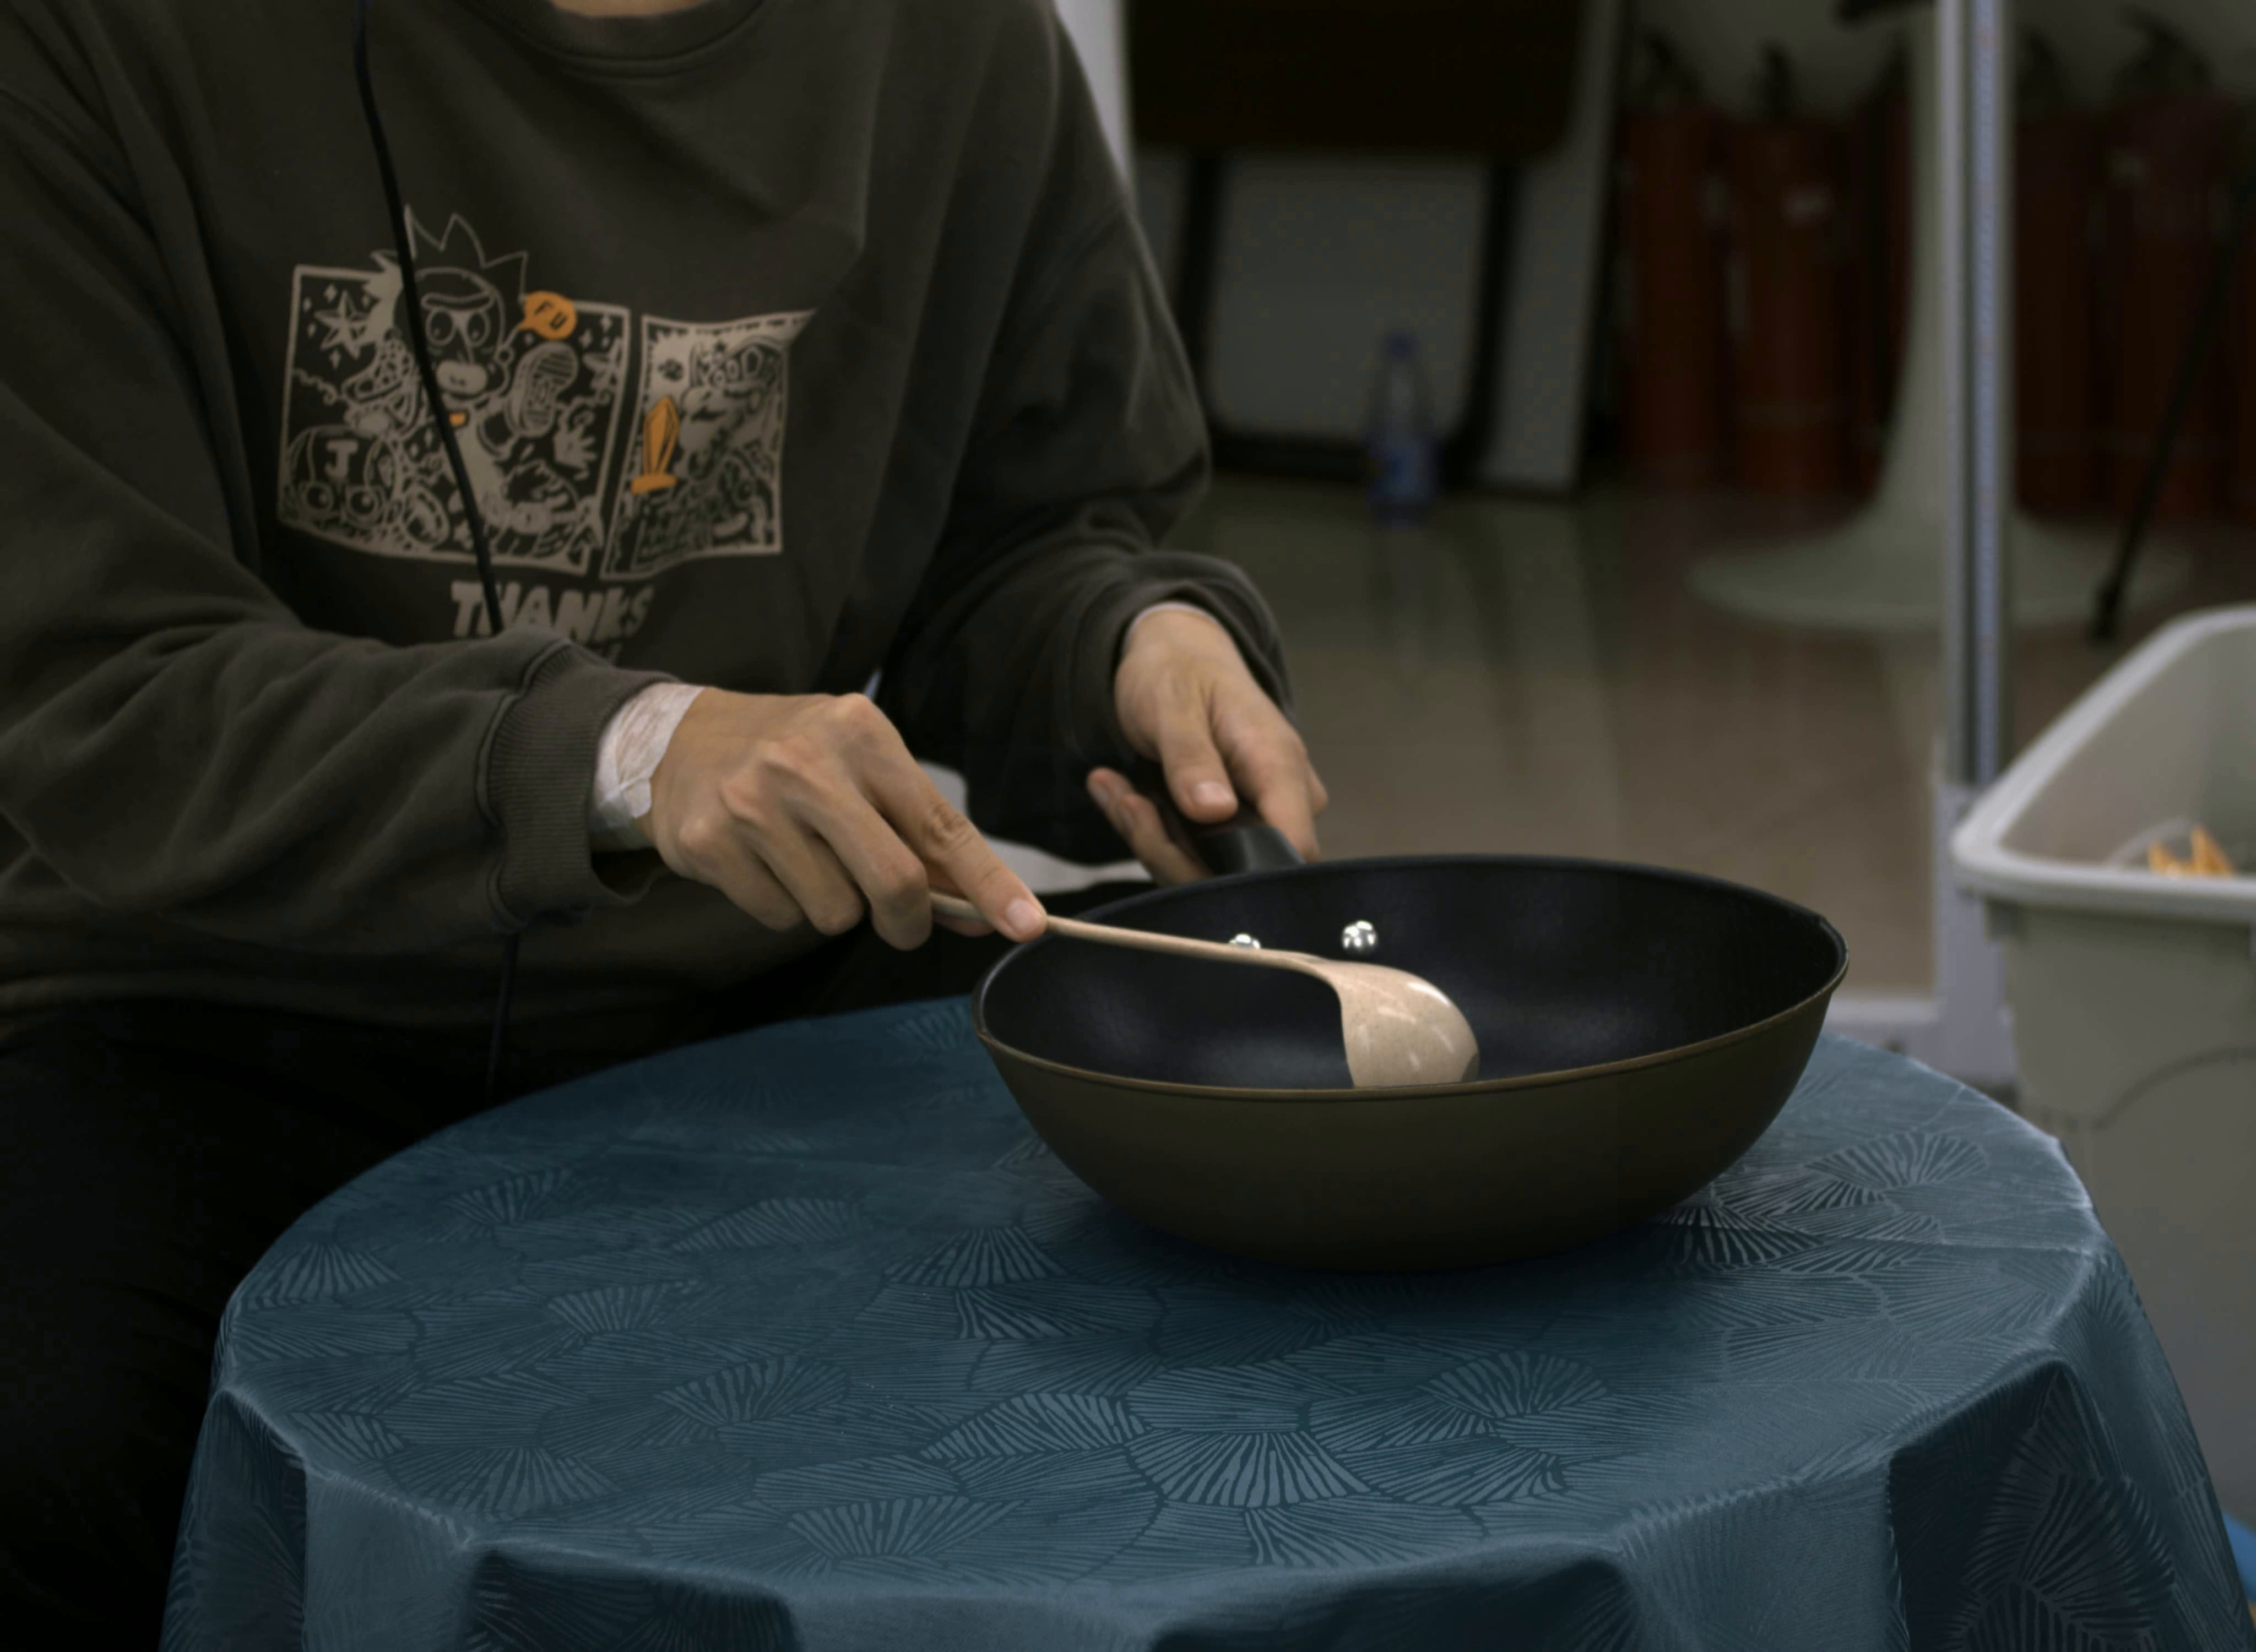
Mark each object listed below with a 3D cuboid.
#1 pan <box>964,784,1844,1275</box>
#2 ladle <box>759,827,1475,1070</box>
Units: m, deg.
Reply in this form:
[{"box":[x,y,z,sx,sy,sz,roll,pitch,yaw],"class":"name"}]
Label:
[{"box":[0.068,0.065,1.815,0.283,0.088,0.466,-7,12,-12],"class":"pan"},{"box":[-0.010,0.062,1.761,0.254,0.074,0.071,12,9,18],"class":"ladle"}]
